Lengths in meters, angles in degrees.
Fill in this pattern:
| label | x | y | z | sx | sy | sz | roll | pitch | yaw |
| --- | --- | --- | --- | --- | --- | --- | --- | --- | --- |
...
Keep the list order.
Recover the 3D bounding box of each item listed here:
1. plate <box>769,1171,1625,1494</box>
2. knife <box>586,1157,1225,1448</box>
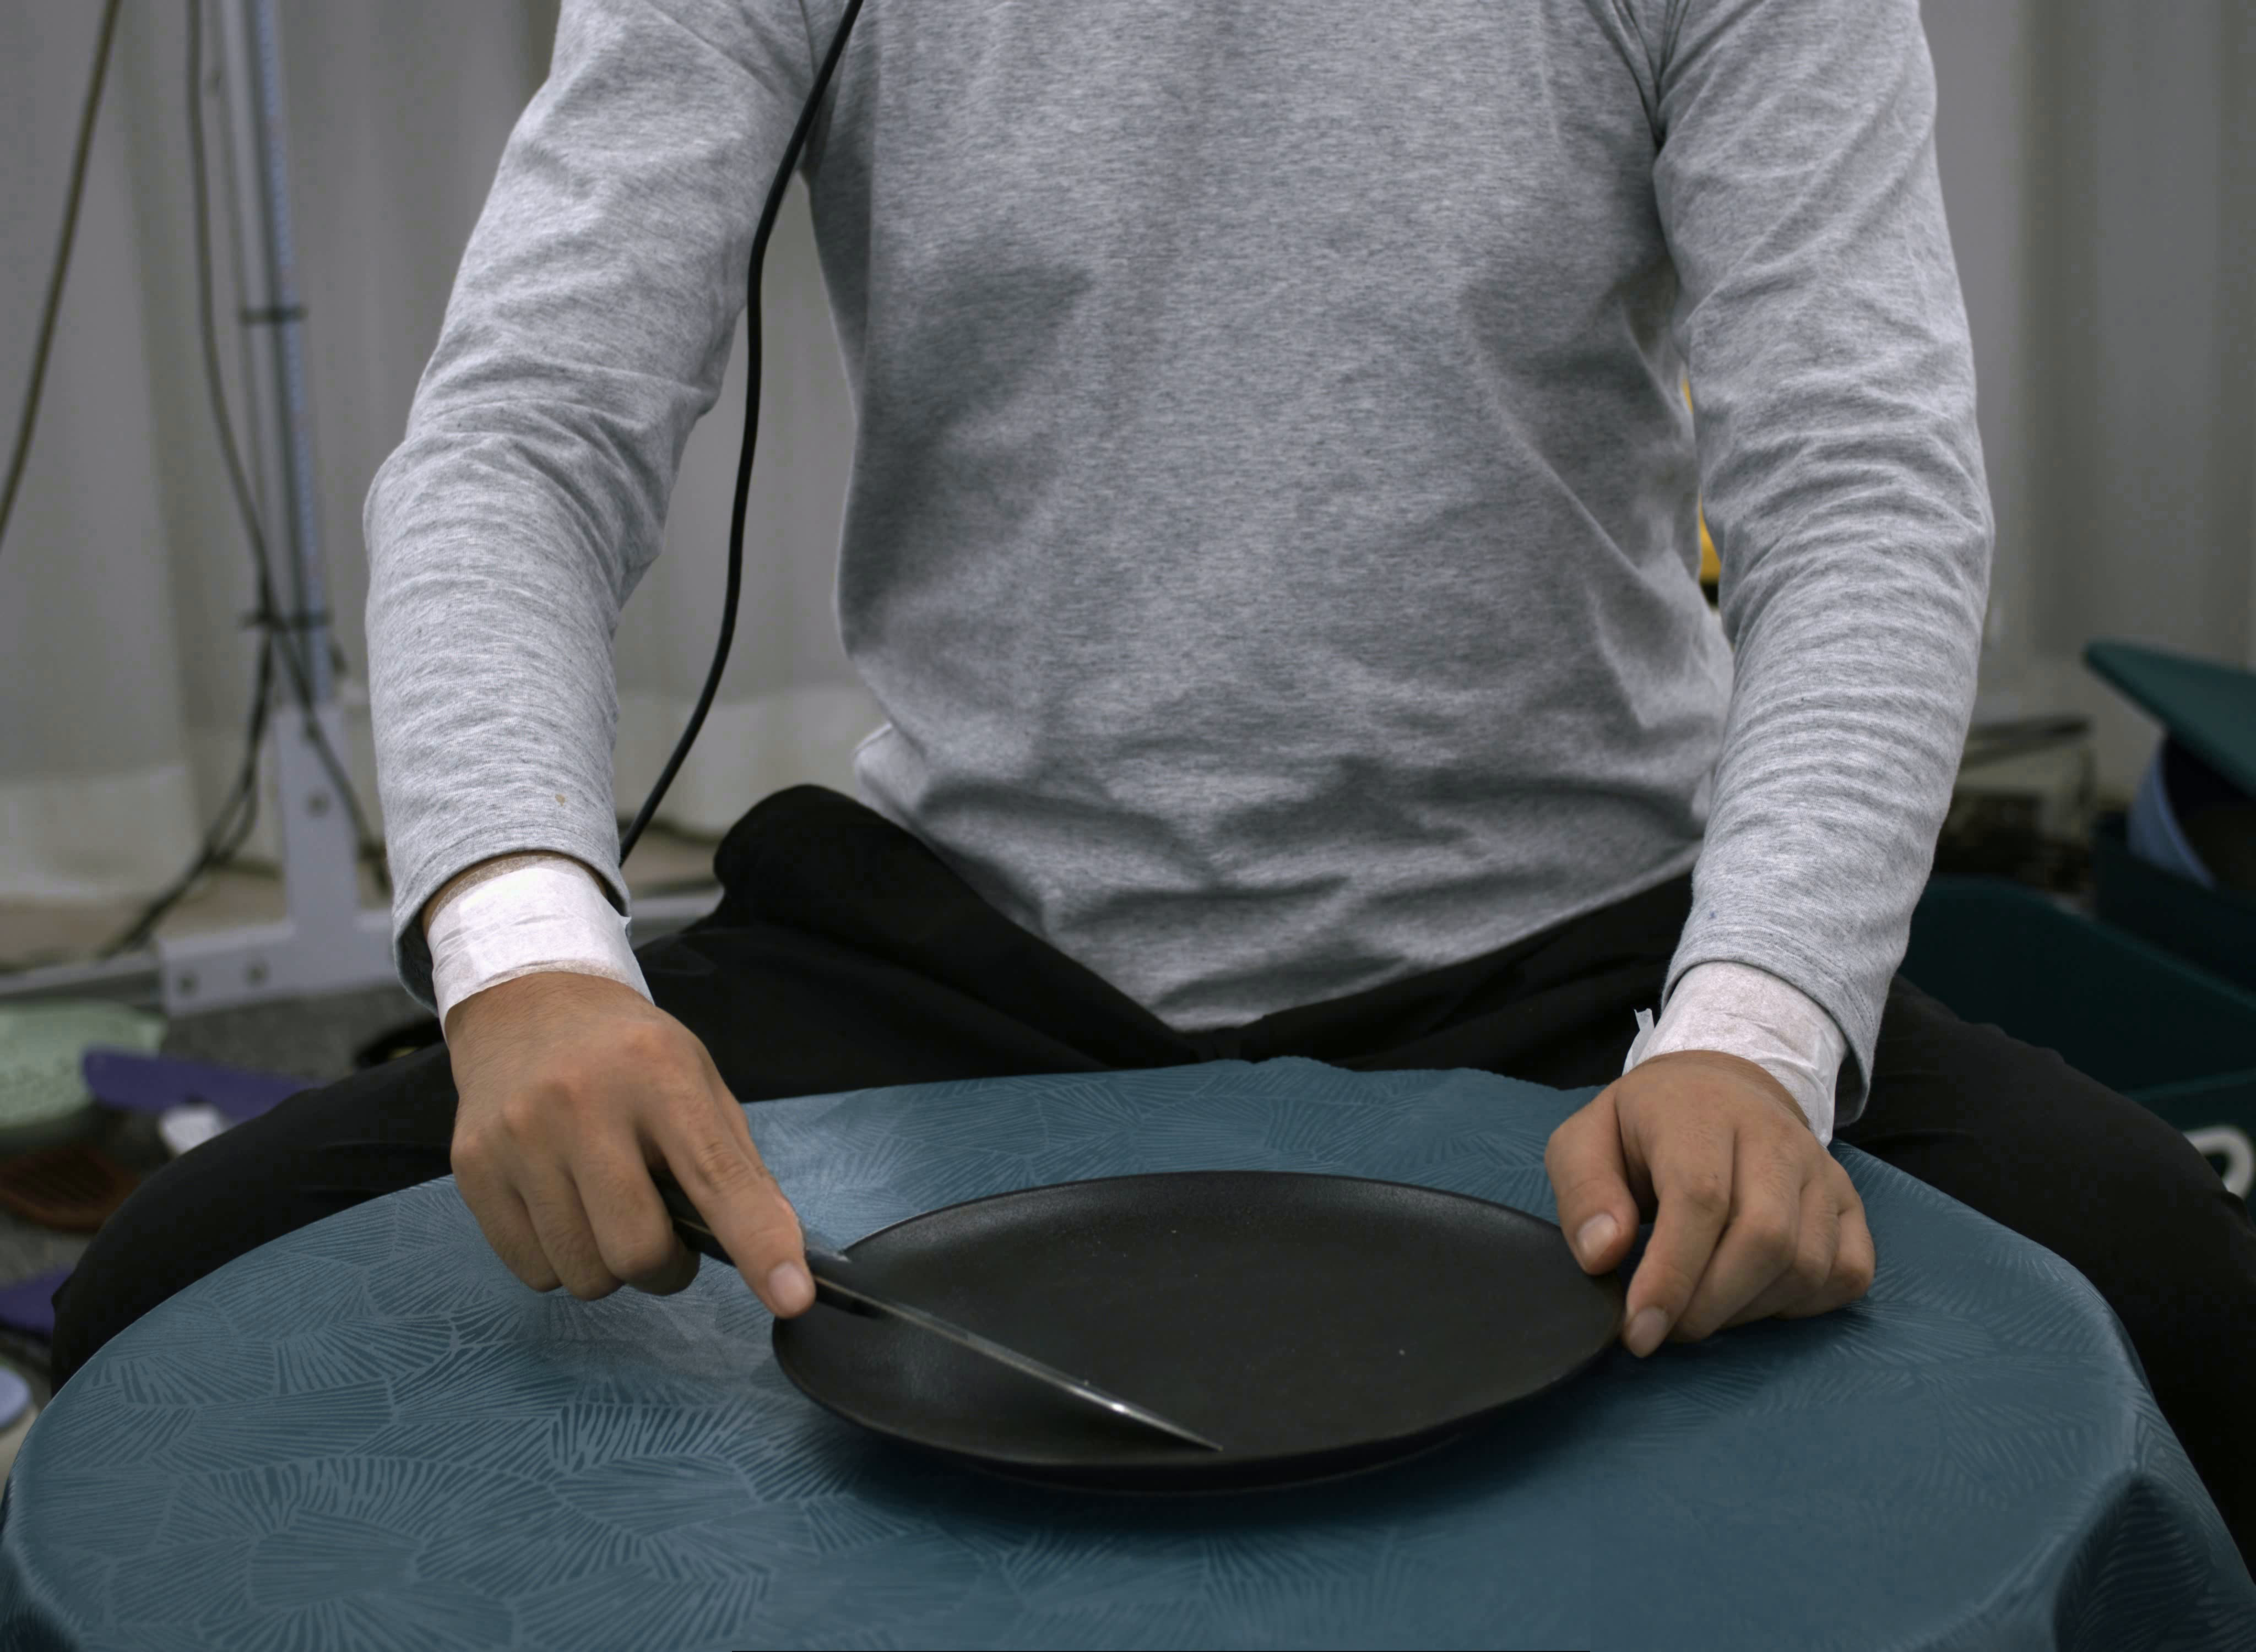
| label | x | y | z | sx | sy | sz | roll | pitch | yaw |
| --- | --- | --- | --- | --- | --- | --- | --- | --- | --- |
| plate | 0.020 | 0.146 | 1.552 | 0.243 | 0.023 | 0.246 | -3 | 15 | 0 |
| knife | -0.066 | 0.136 | 1.541 | 0.240 | 0.016 | 0.024 | 20 | 6 | 34 |
